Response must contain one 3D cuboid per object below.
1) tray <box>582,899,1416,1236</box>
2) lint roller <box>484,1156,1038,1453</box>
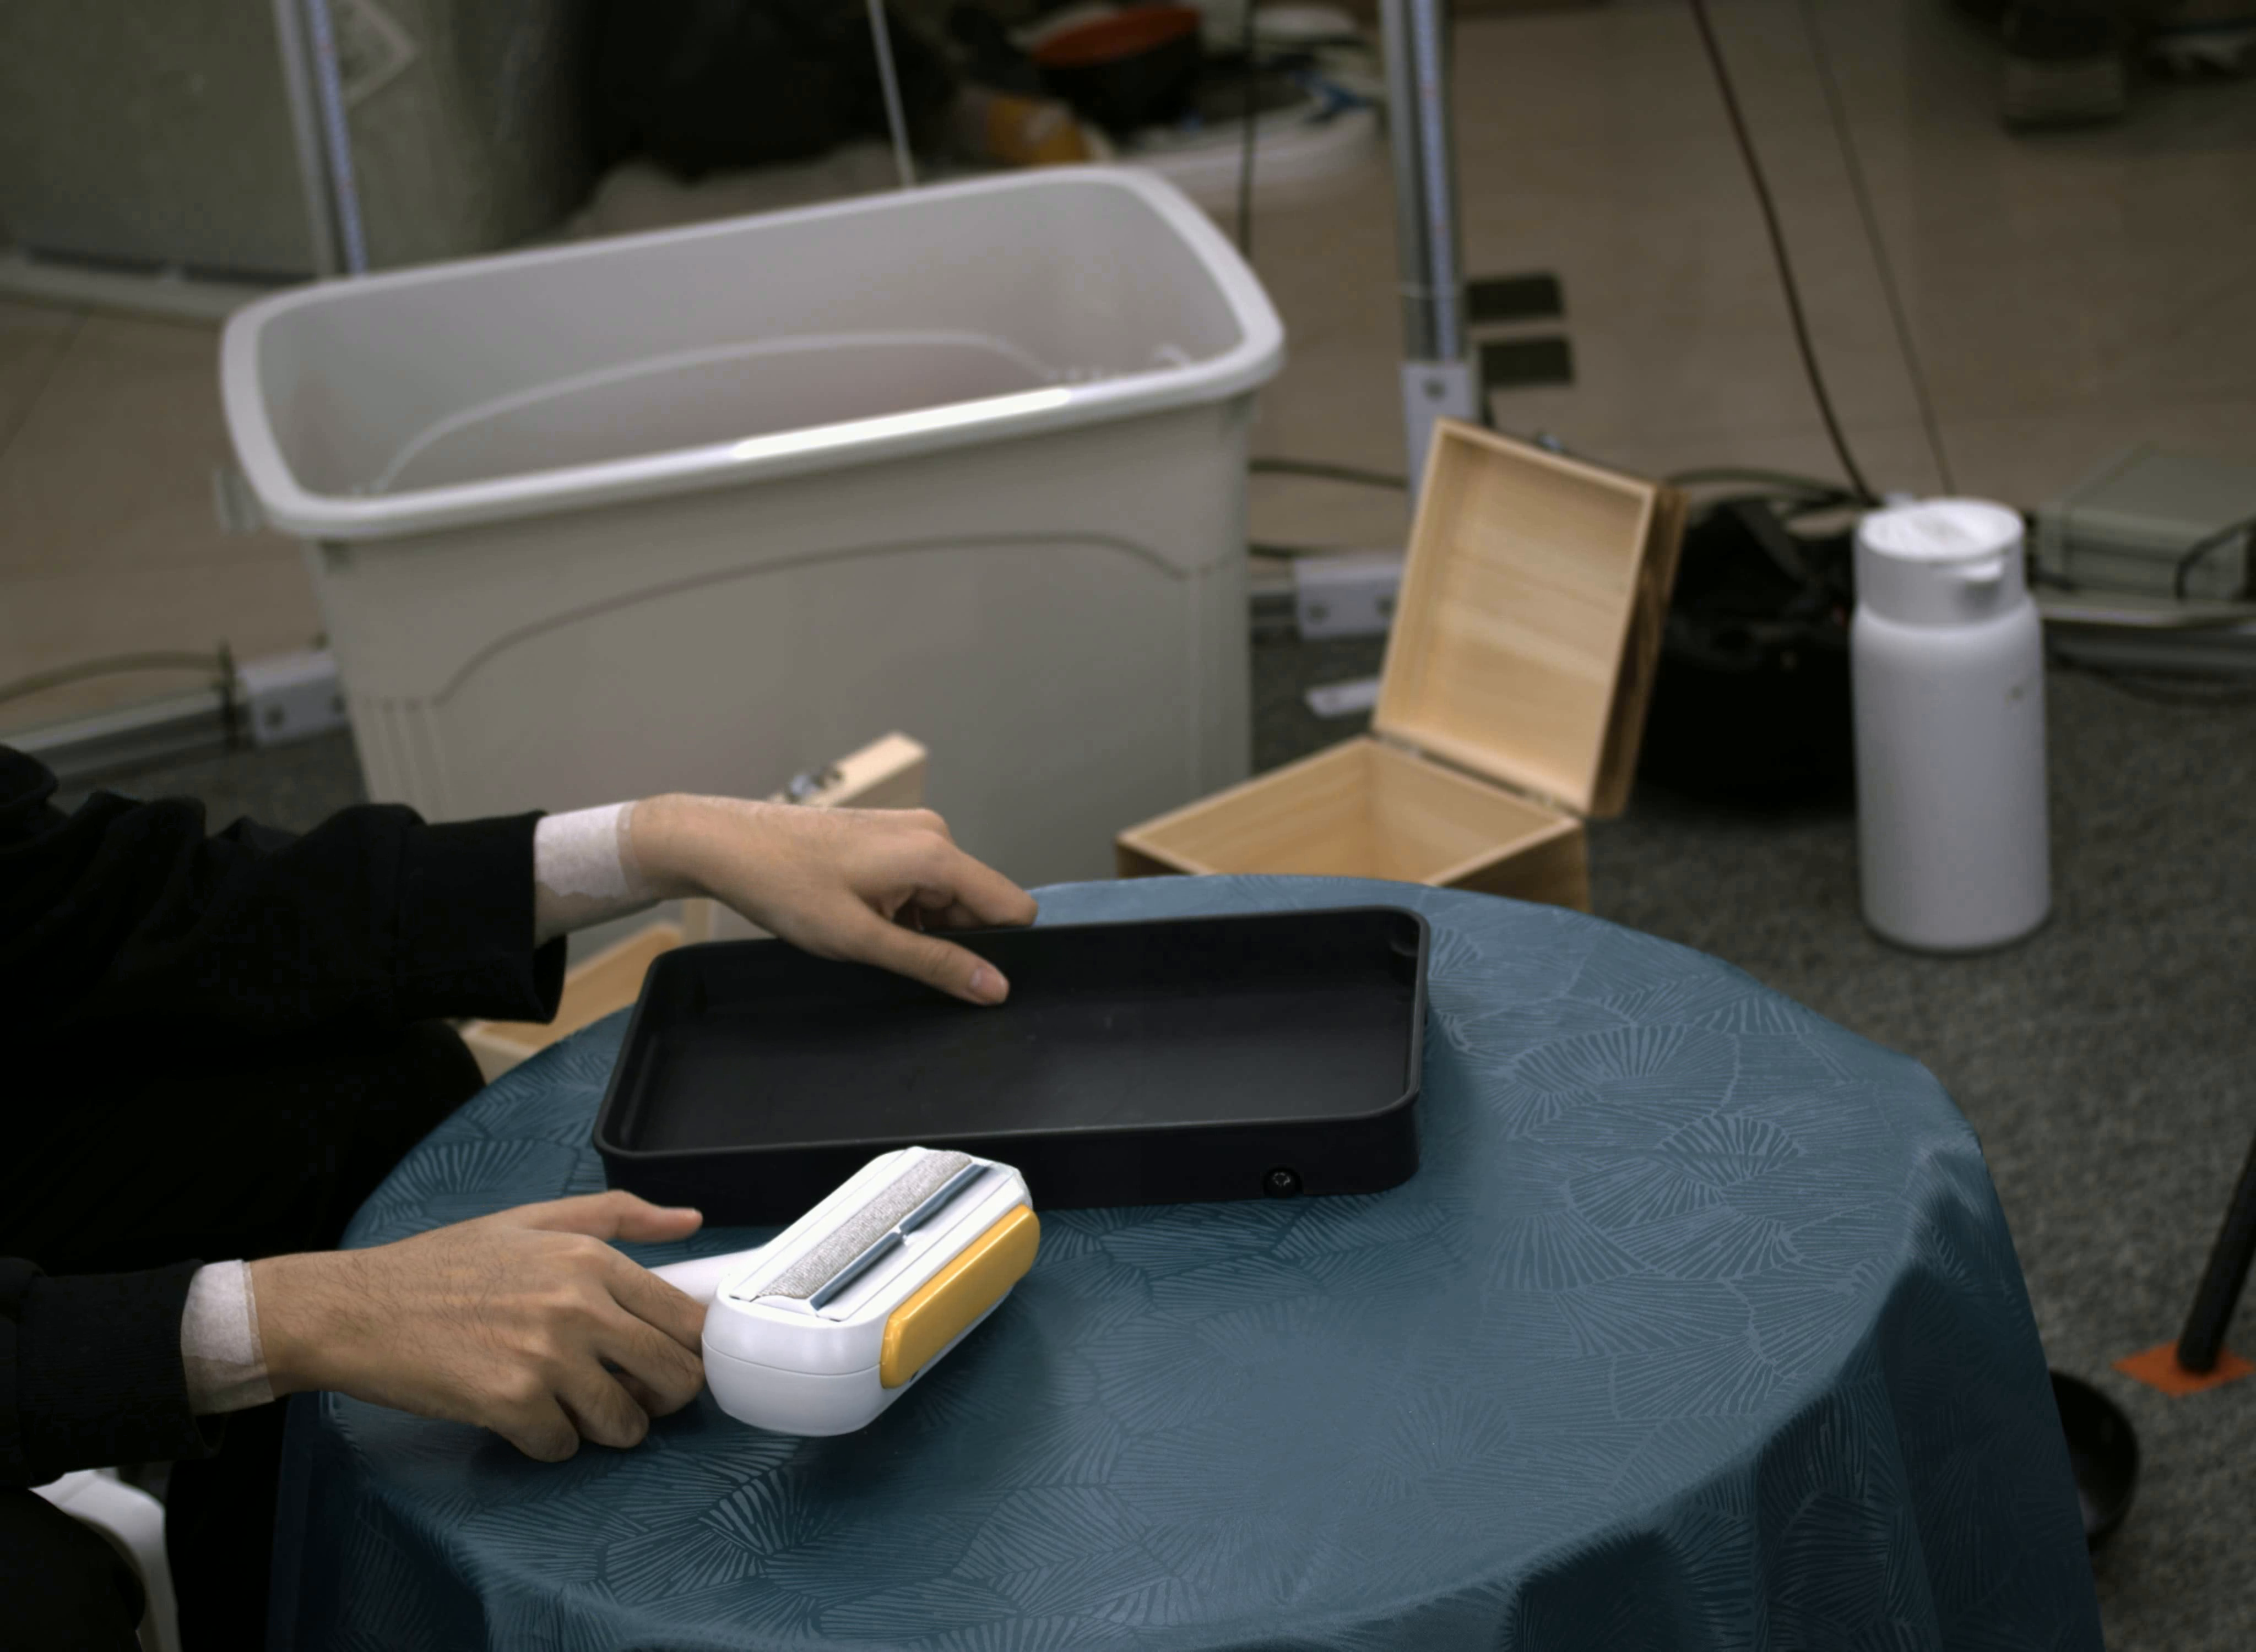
[{"bbox_3d":[-0.045,0.093,2.212,0.317,0.037,0.181,-4,25,5],"label":"tray"},{"bbox_3d":[-0.146,0.170,2.033,0.192,0.075,0.191,3,20,23],"label":"lint roller"}]
